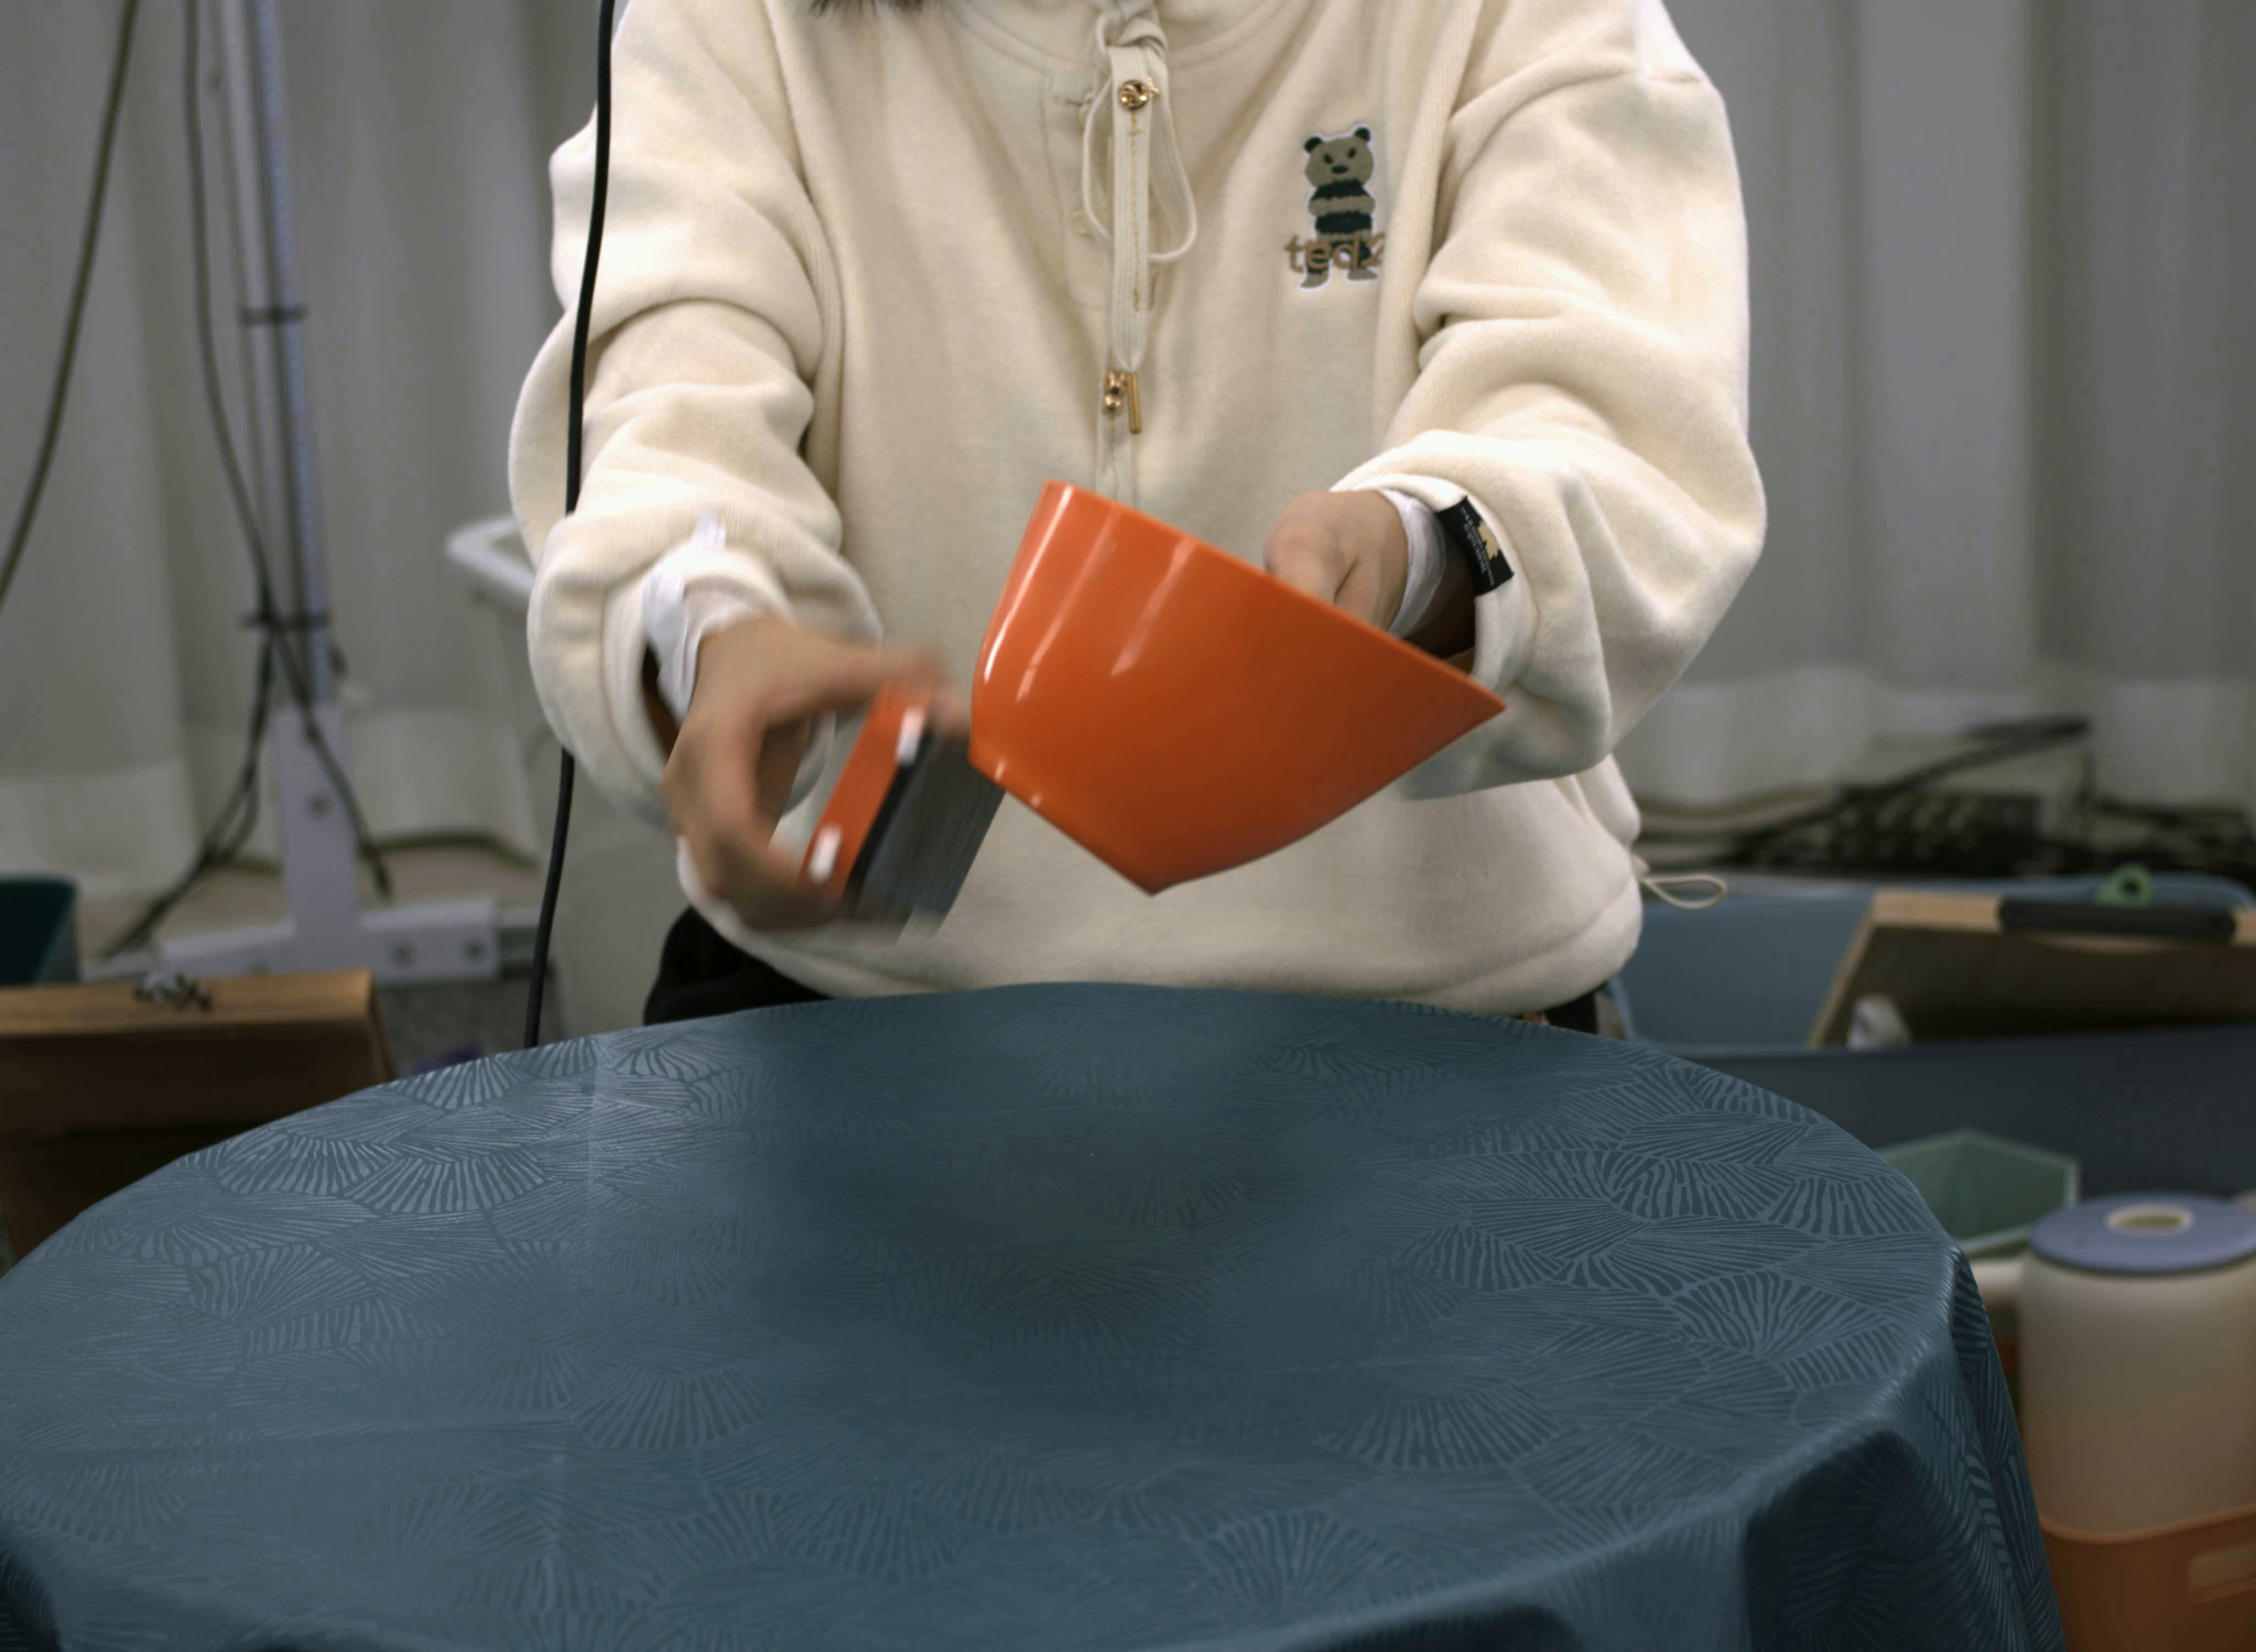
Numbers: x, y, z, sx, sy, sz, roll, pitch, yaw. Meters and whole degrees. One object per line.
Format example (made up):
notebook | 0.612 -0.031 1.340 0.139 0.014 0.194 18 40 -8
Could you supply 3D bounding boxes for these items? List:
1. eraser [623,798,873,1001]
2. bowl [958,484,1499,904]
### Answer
eraser | -0.113 0.022 1.635 0.023 0.059 0.107 30 7 13
bowl | 0.017 -0.031 1.577 0.148 0.105 0.148 36 0 0
